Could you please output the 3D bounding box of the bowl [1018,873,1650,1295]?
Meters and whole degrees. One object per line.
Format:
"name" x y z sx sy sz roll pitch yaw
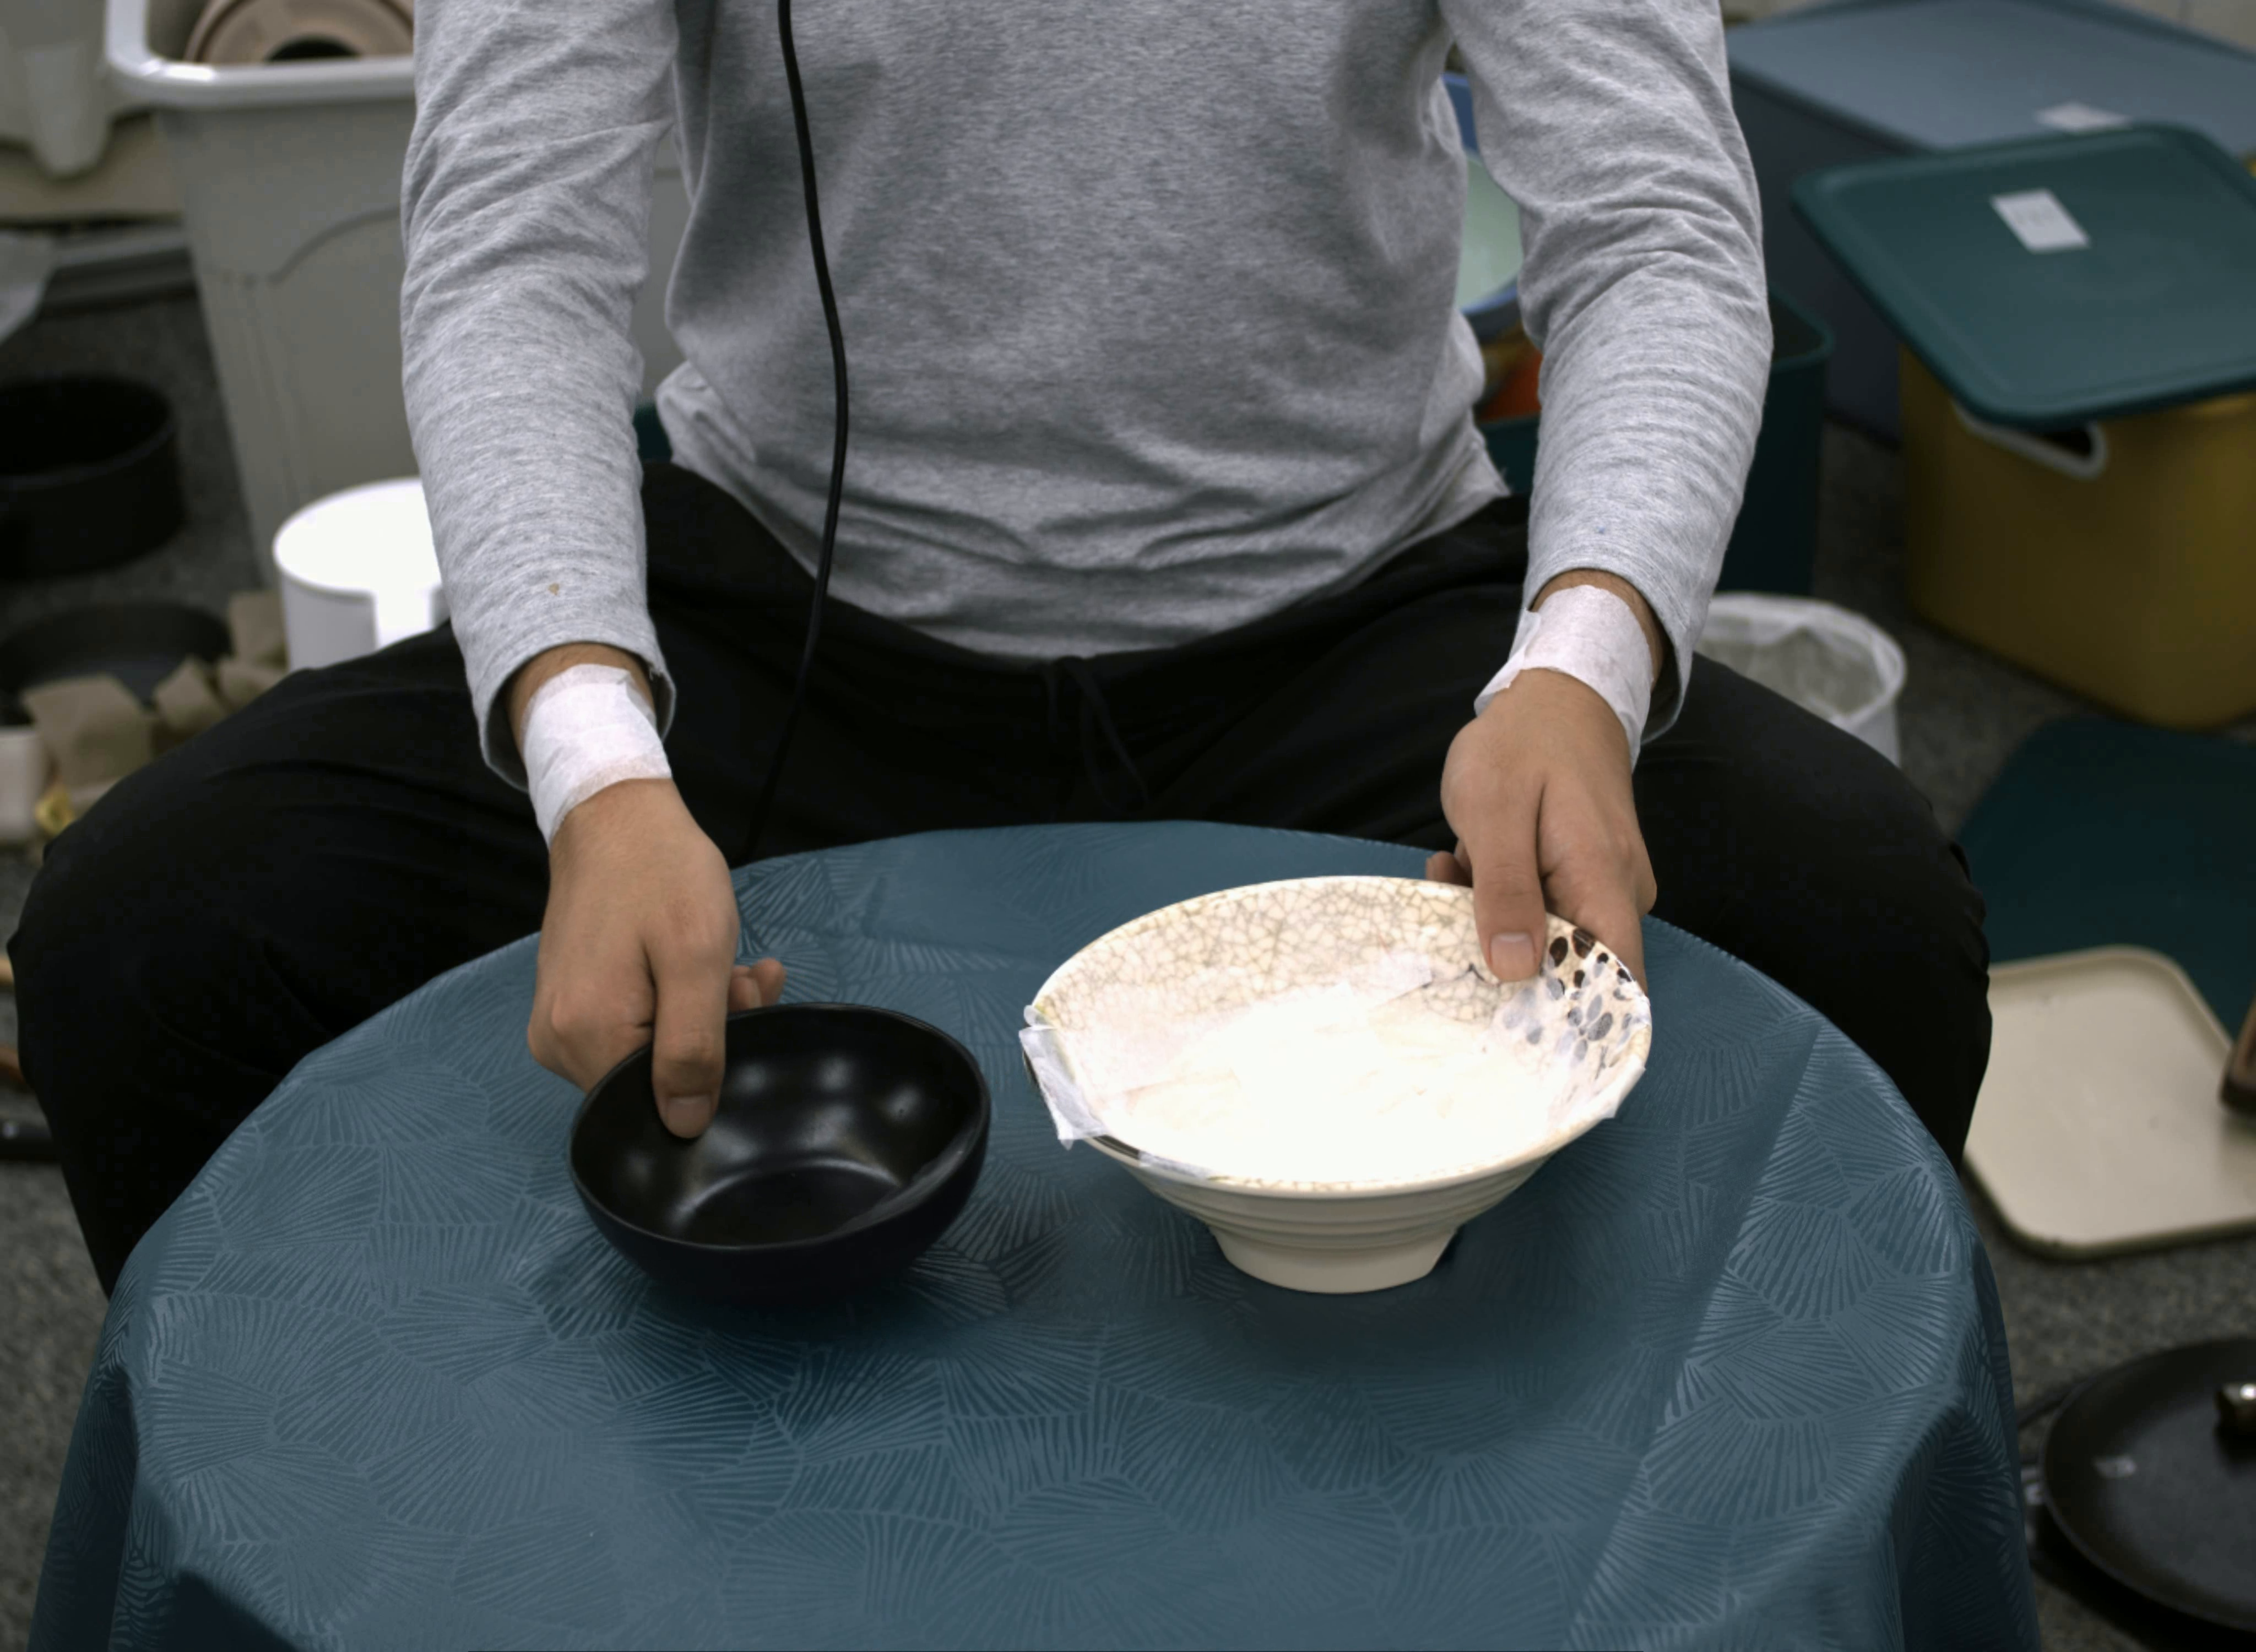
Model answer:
"bowl" 0.067 0.096 1.819 0.203 0.077 0.207 -1 27 1

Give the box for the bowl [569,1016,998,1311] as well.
"bowl" -0.110 0.118 1.822 0.139 0.049 0.142 -3 28 2
